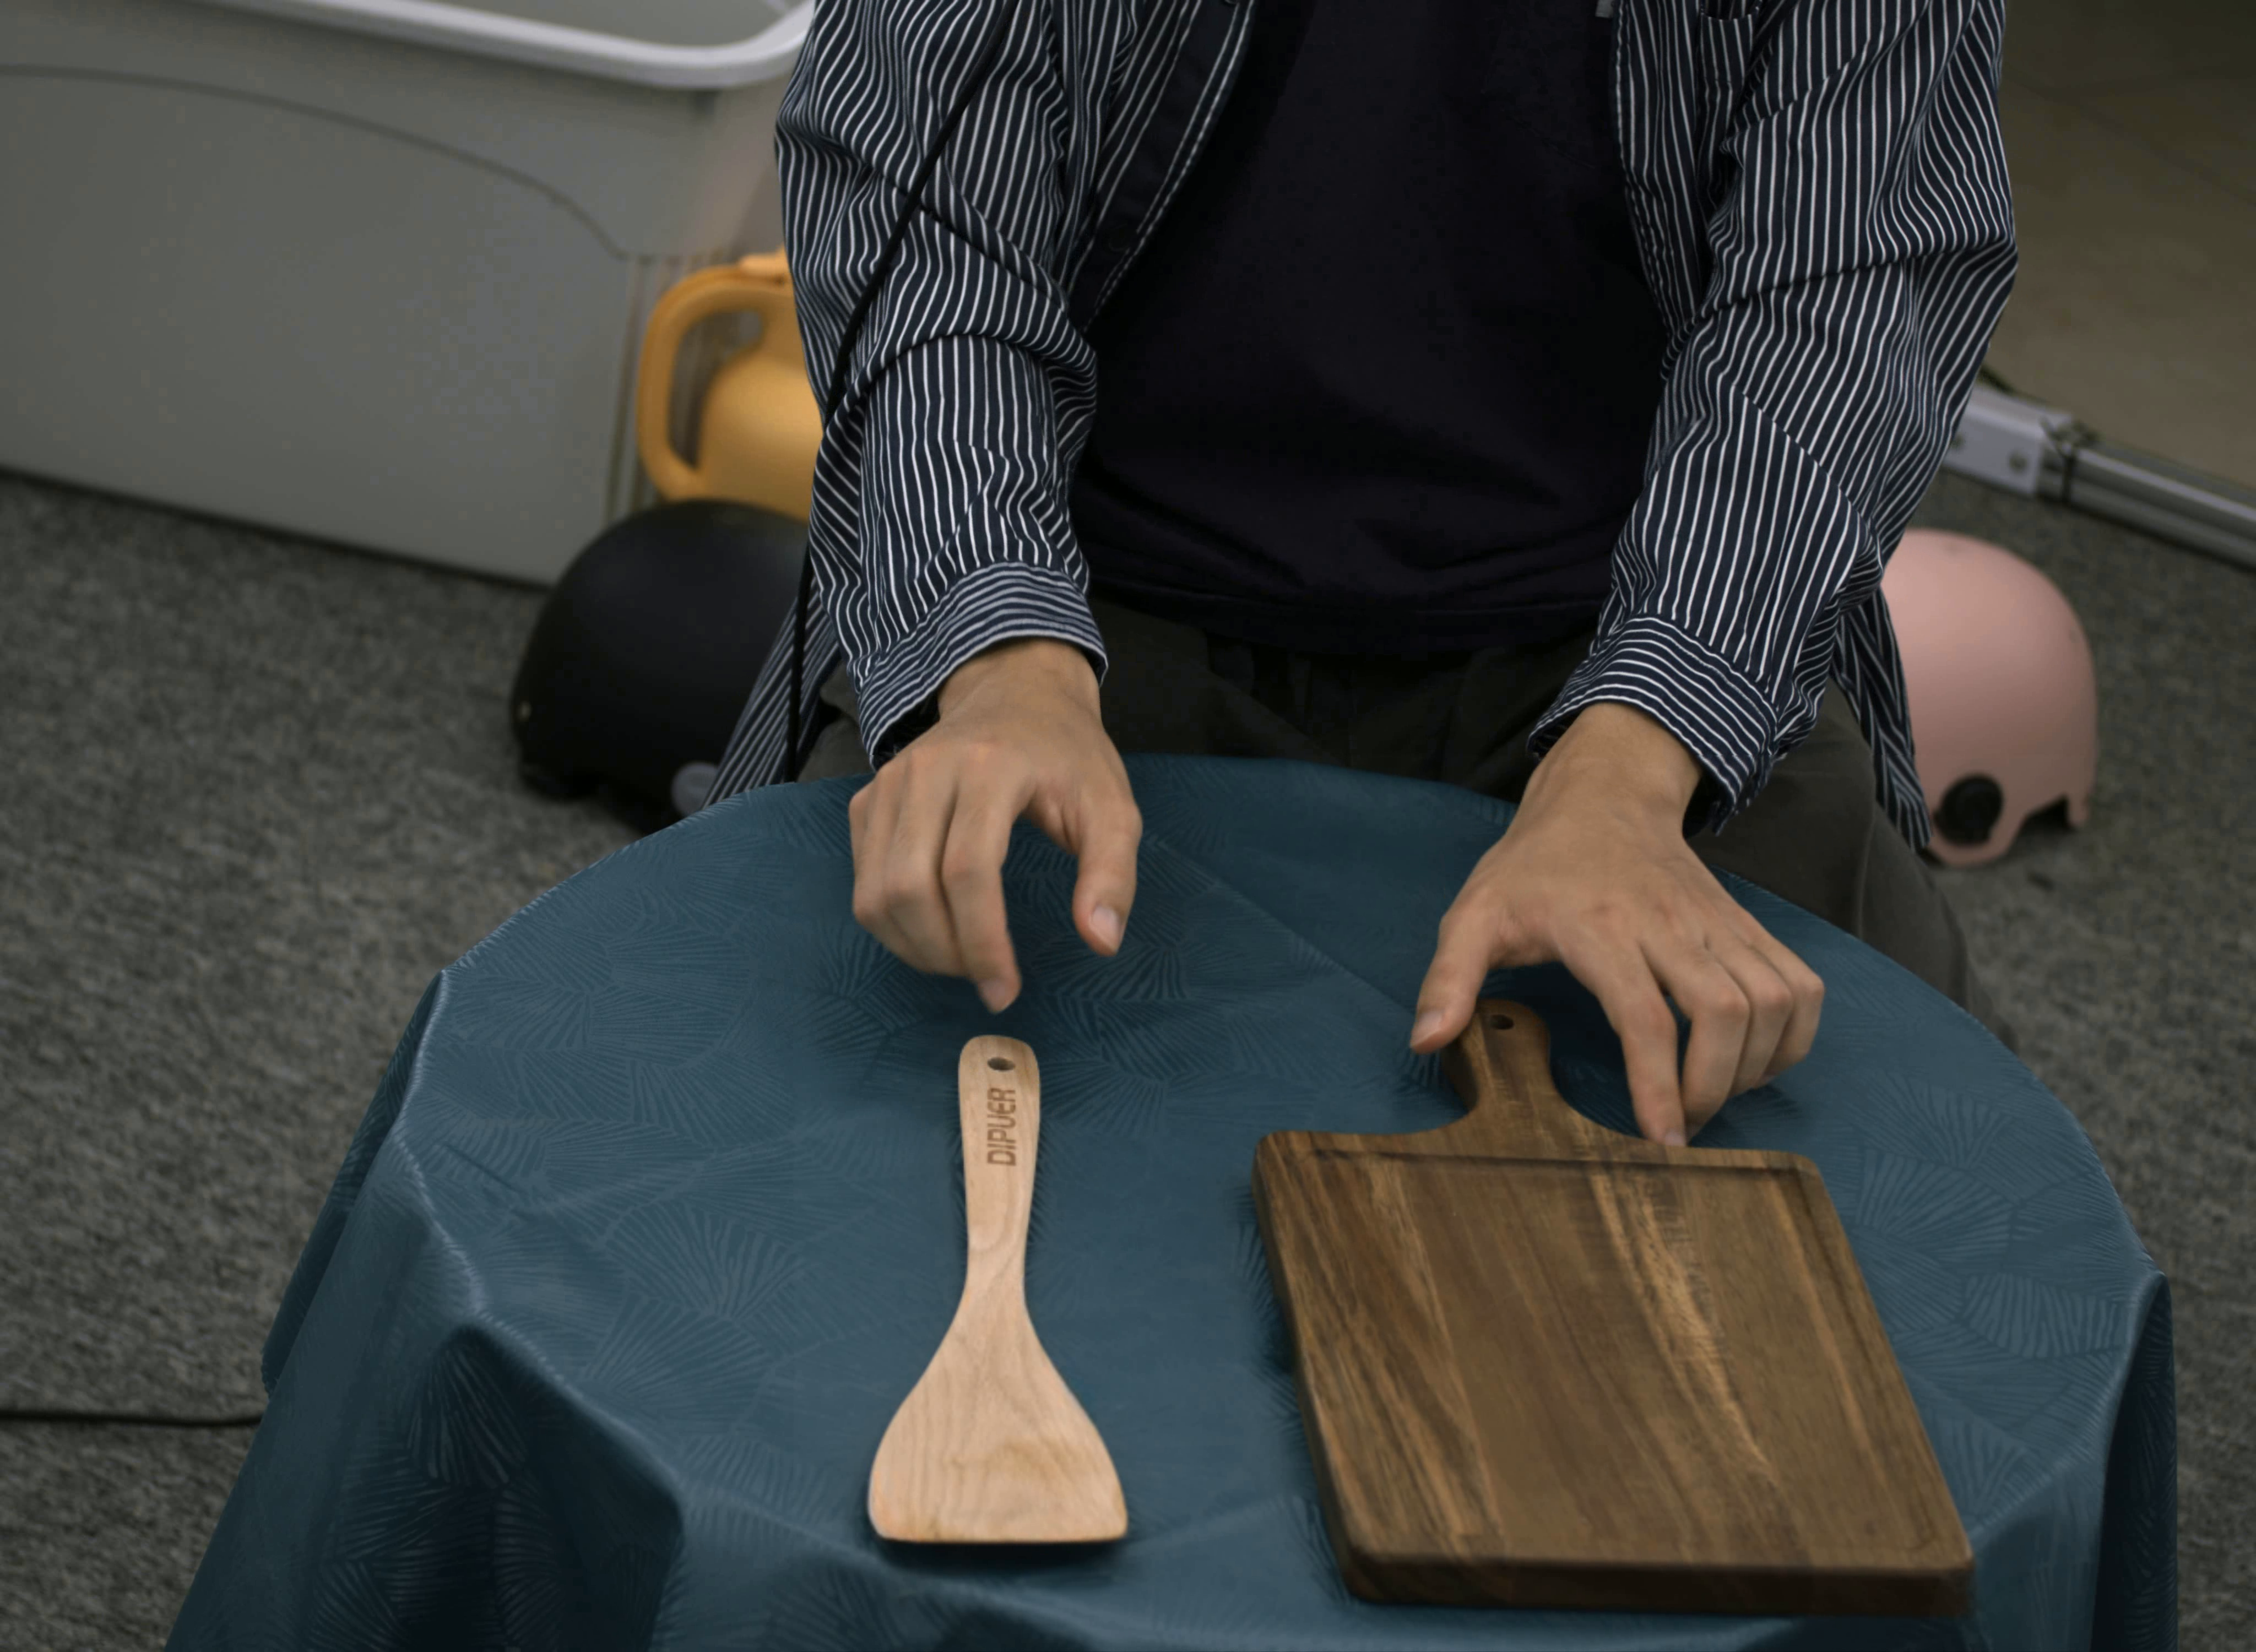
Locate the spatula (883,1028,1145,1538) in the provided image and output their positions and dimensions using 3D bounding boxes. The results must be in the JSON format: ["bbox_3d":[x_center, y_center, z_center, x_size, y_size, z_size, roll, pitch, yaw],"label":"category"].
[{"bbox_3d":[-0.039,0.144,1.730,0.079,0.016,0.330,5,27,-5],"label":"spatula"}]

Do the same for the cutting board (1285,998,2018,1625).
[{"bbox_3d":[0.158,0.151,1.755,0.200,0.023,0.354,3,27,-7],"label":"cutting board"}]
